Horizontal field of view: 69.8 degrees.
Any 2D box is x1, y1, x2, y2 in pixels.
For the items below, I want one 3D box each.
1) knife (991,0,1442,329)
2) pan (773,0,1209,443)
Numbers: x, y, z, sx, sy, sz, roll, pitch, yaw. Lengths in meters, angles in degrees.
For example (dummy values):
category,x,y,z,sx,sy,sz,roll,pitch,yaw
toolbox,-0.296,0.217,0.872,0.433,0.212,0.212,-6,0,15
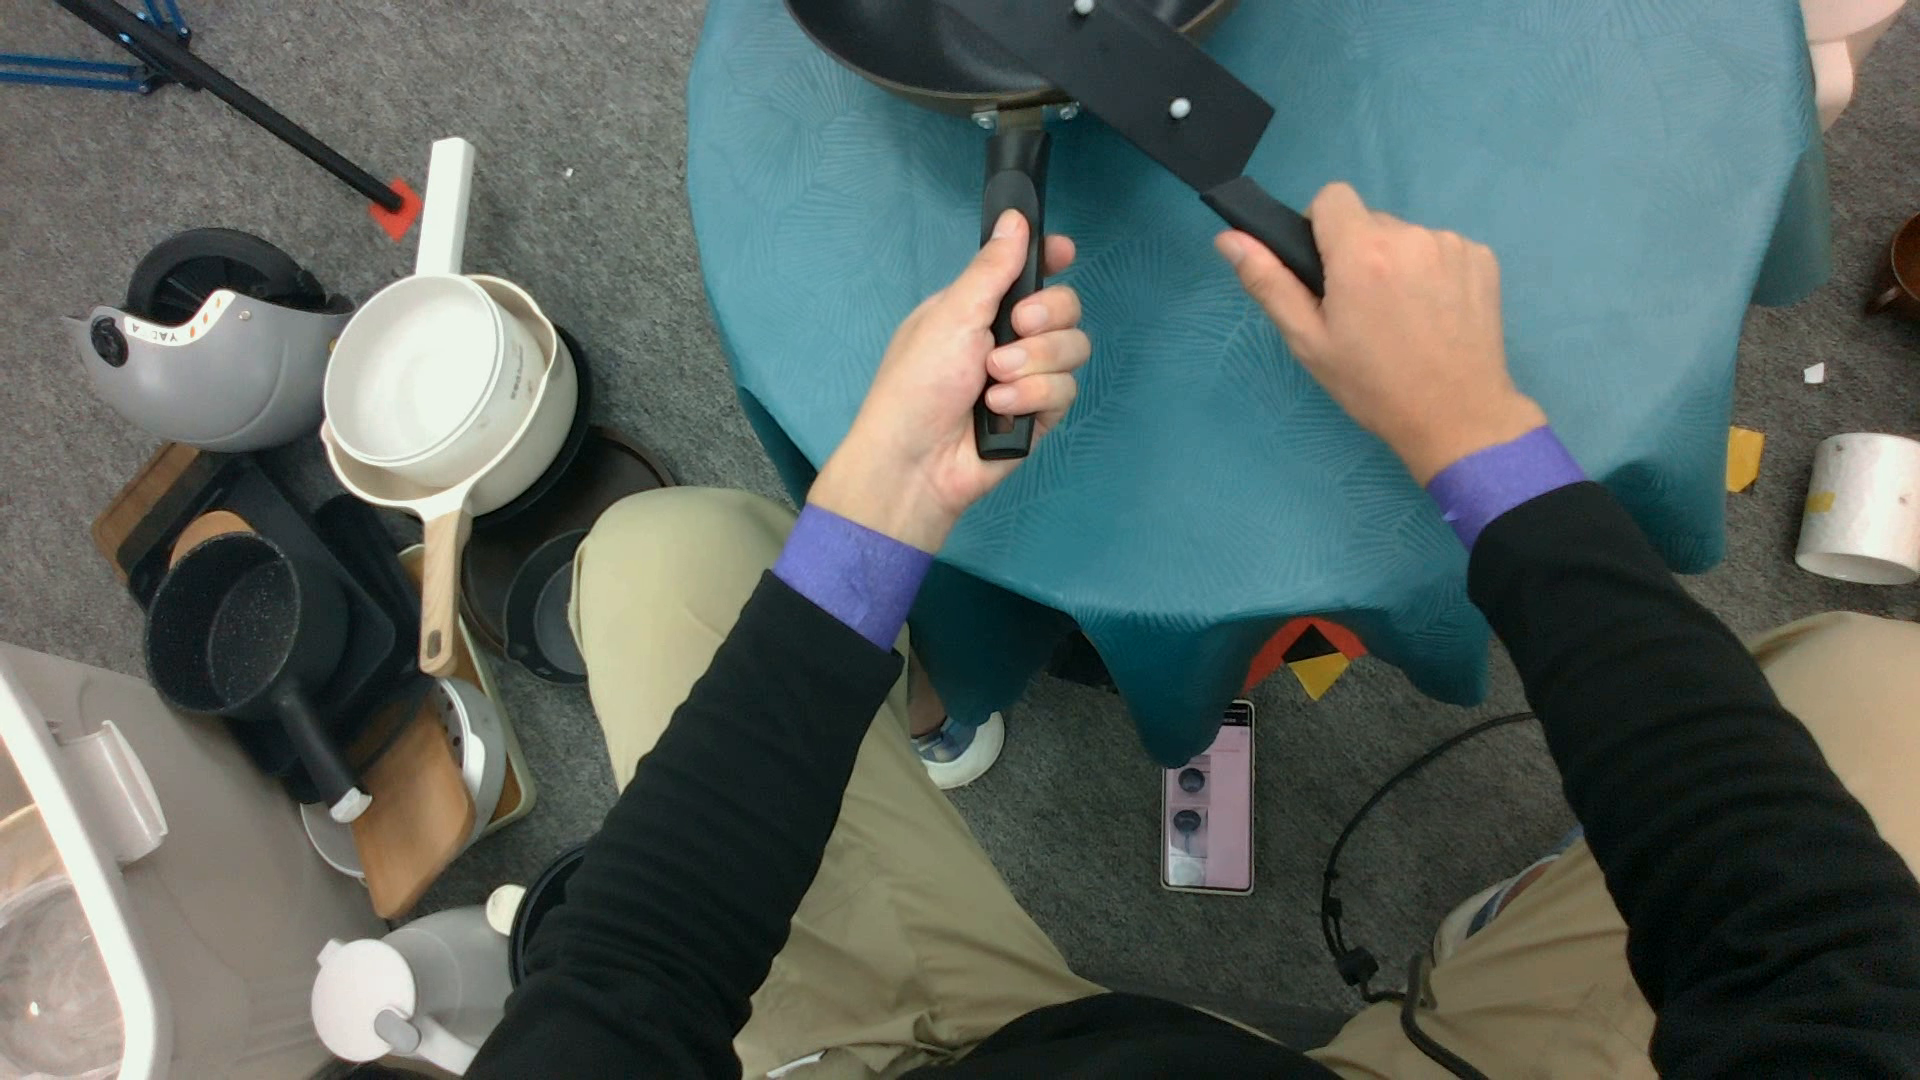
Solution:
category,x,y,z,sx,sy,sz,roll,pitch,yaw
knife,0.106,-0.202,0.631,0.302,0.021,0.081,40,67,-7
pan,0.028,-0.253,0.711,0.288,0.087,0.464,-2,70,13
